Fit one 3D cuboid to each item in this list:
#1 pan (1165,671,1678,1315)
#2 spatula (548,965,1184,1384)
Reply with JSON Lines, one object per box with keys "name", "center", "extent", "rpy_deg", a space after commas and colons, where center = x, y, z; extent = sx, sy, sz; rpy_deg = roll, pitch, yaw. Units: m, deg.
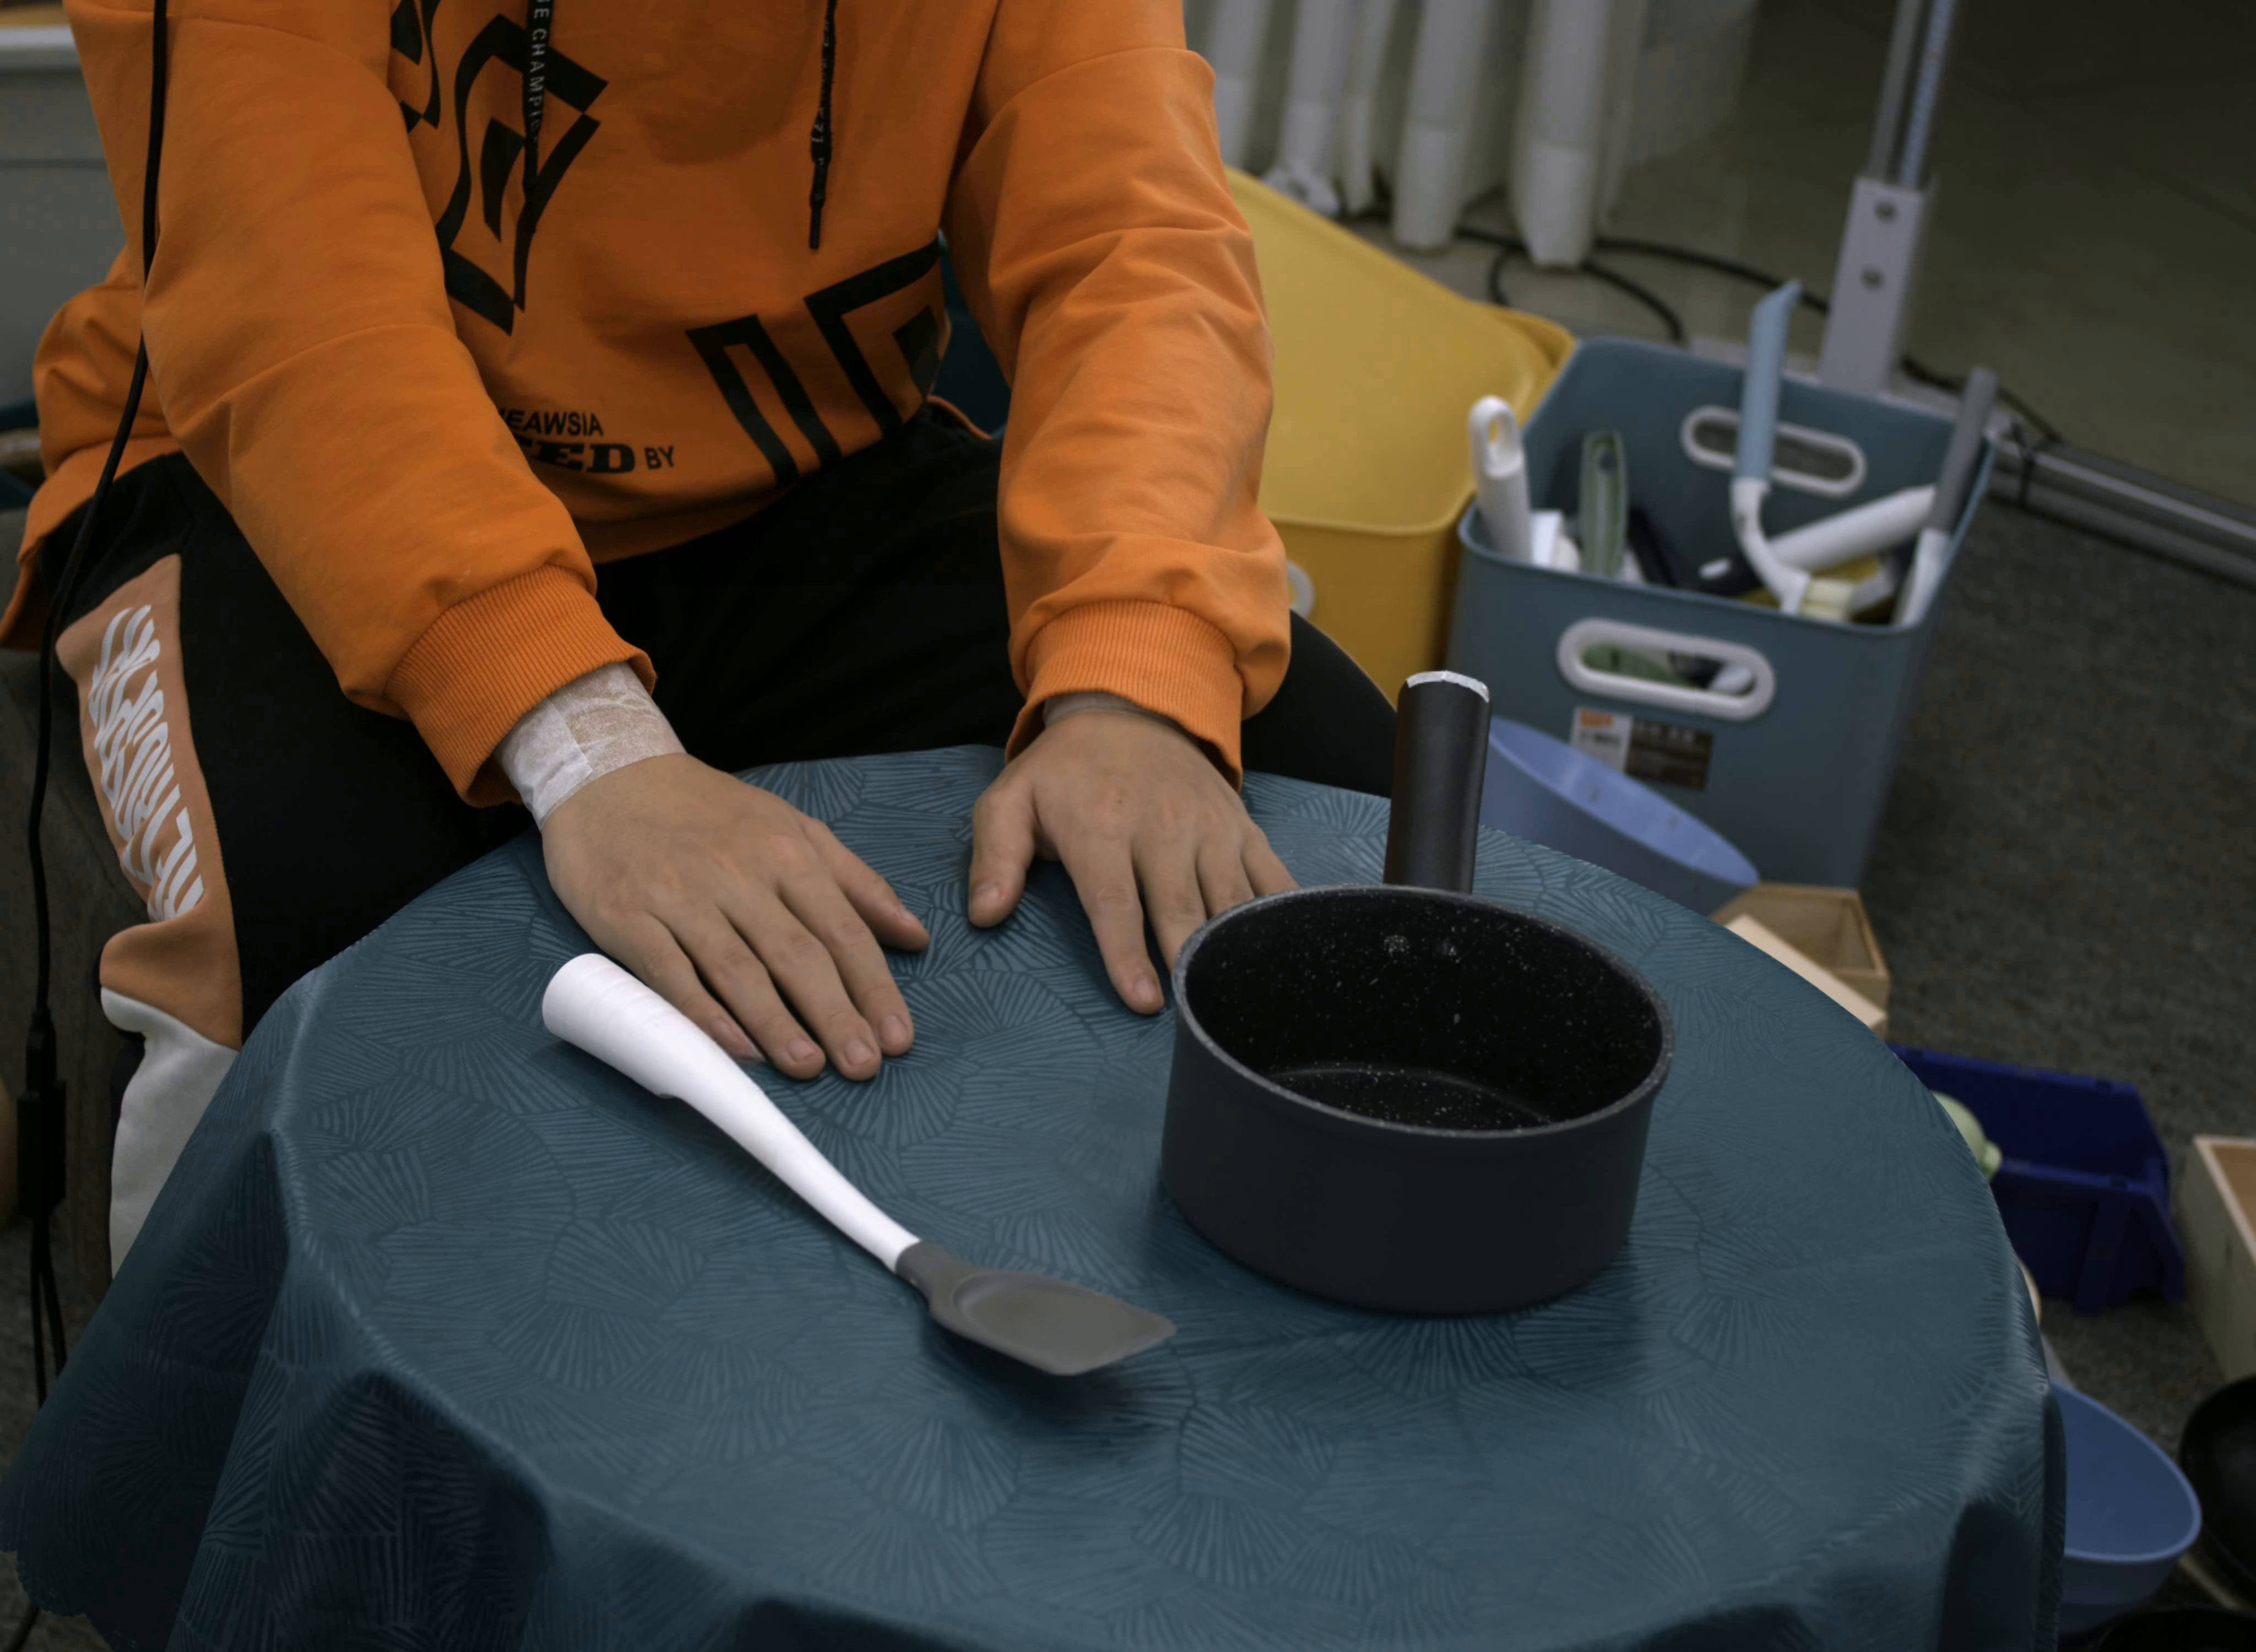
{"name": "pan", "center": [0.105, 0.054, 1.870], "extent": [0.172, 0.086, 0.330], "rpy_deg": [9, 29, 4]}
{"name": "spatula", "center": [-0.094, 0.118, 1.757], "extent": [0.058, 0.032, 0.290], "rpy_deg": [-13, 32, -41]}
